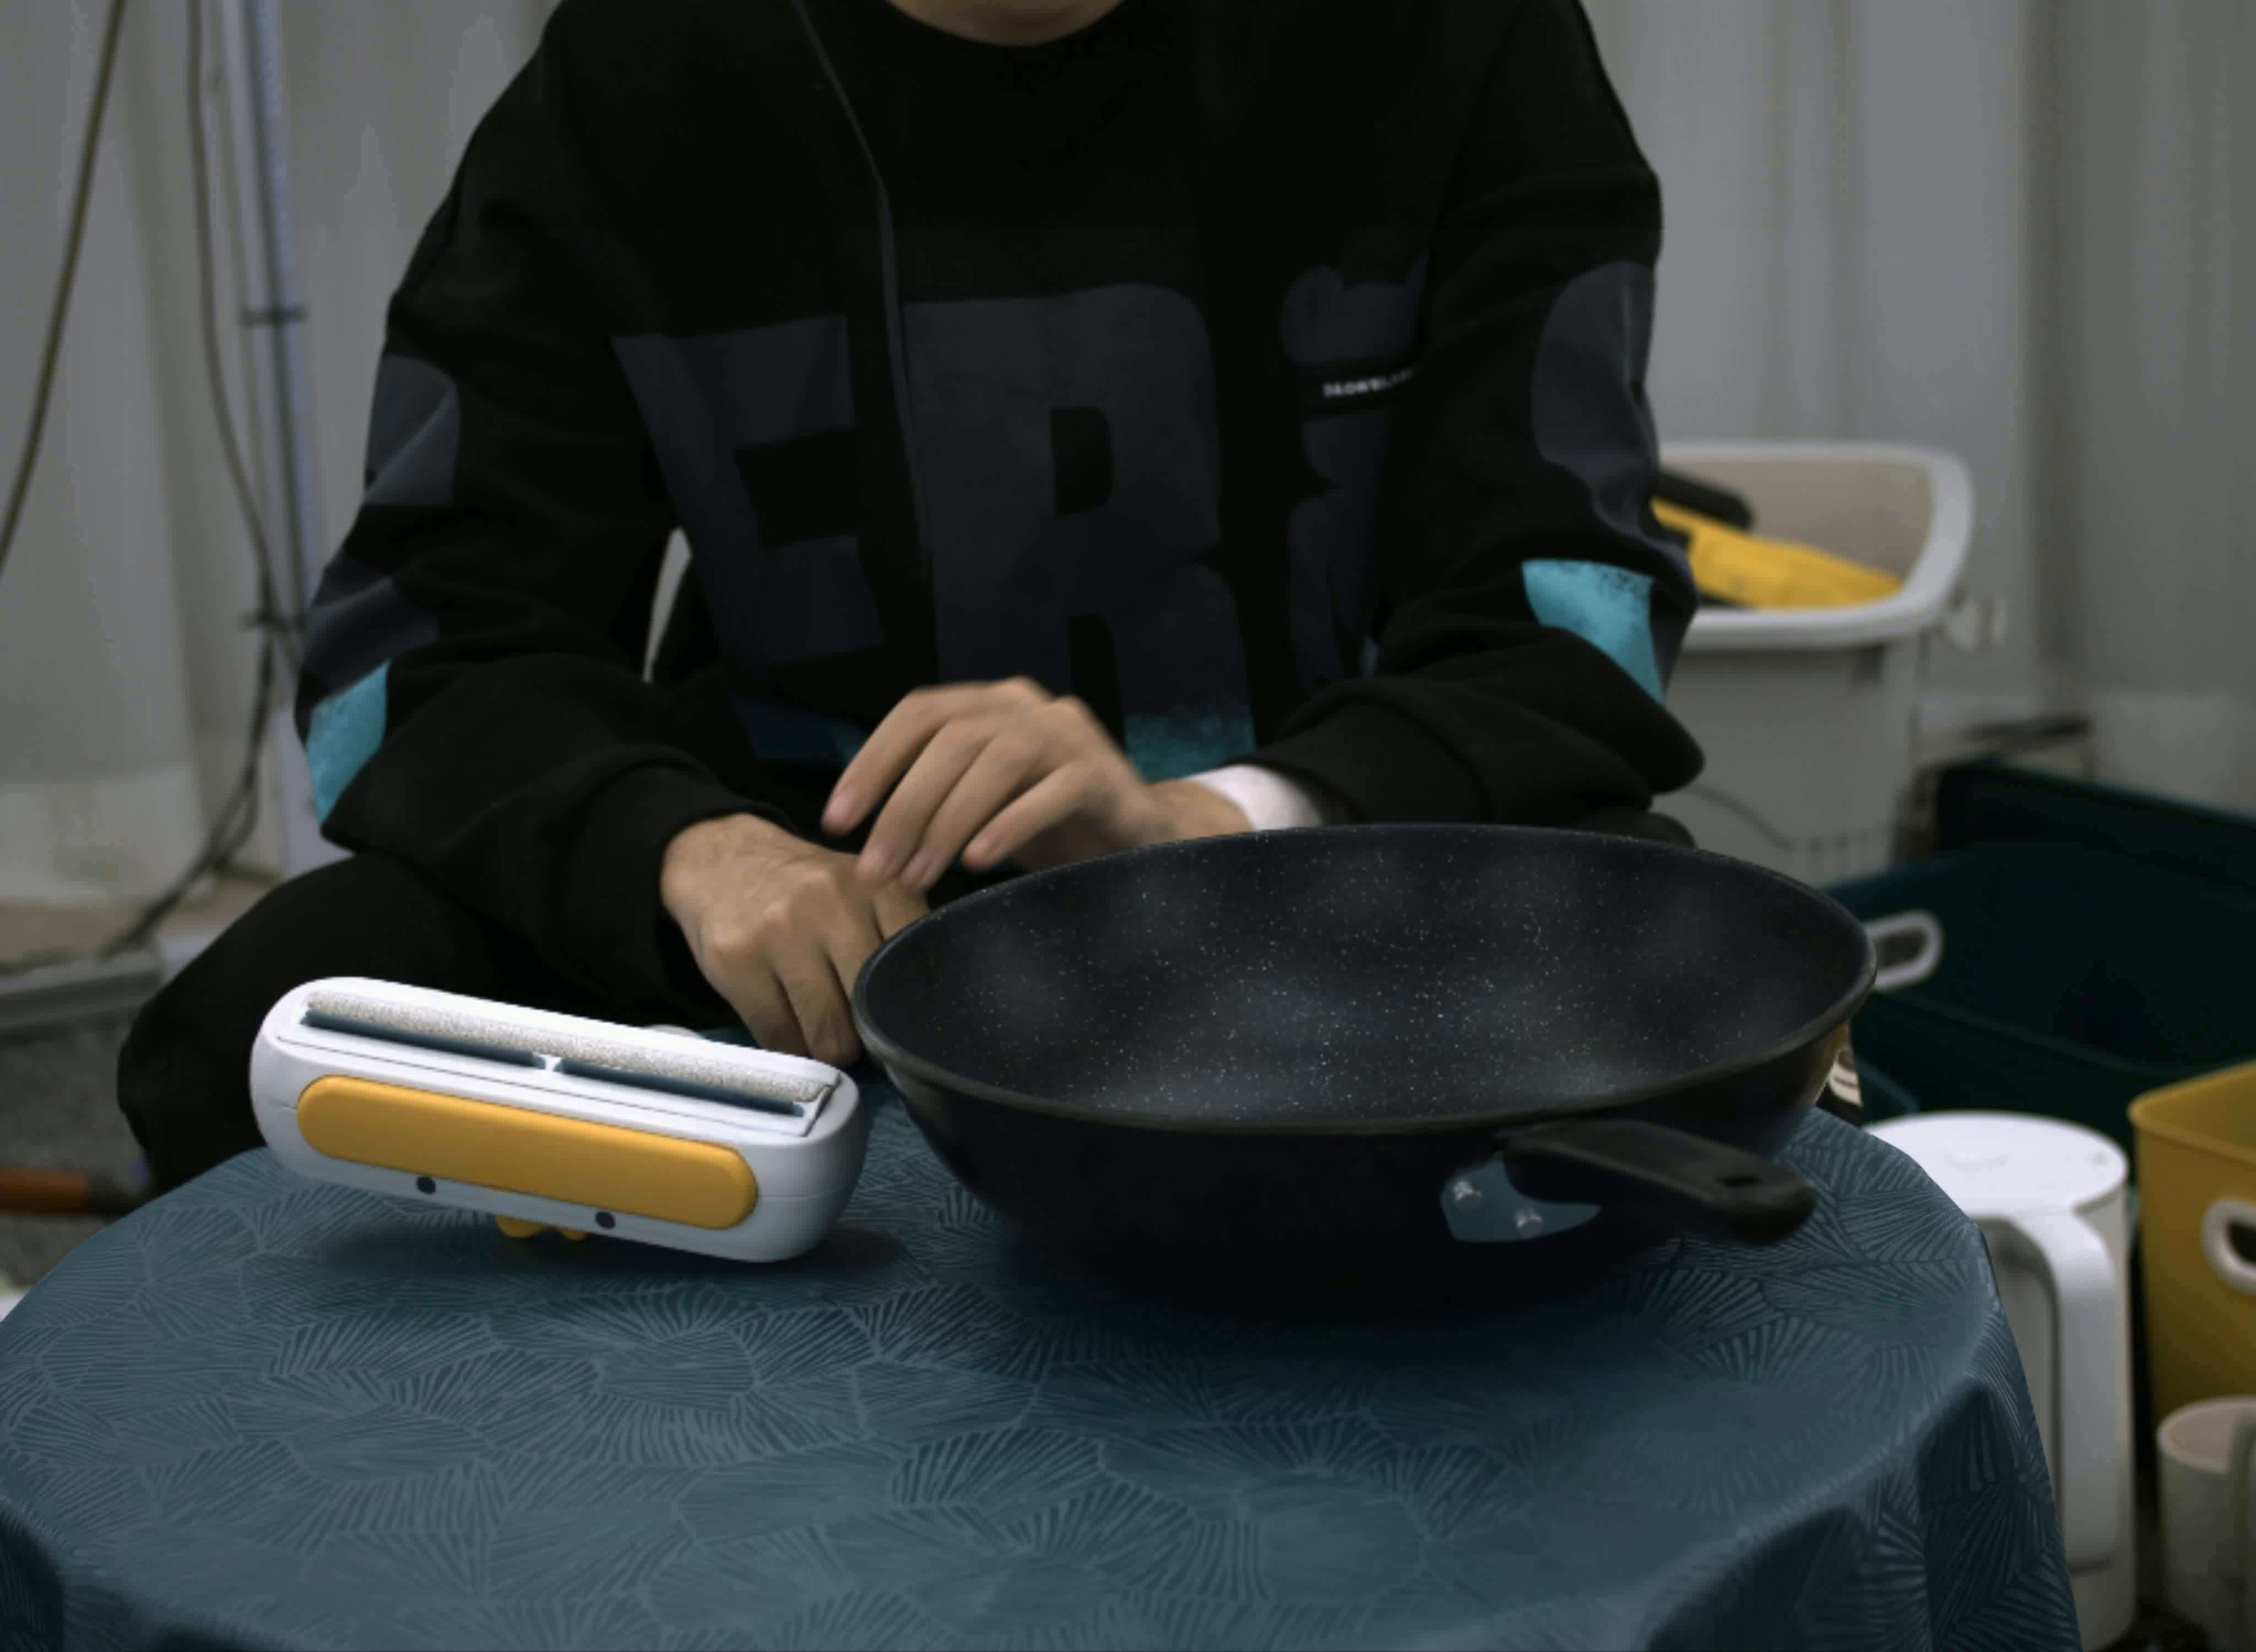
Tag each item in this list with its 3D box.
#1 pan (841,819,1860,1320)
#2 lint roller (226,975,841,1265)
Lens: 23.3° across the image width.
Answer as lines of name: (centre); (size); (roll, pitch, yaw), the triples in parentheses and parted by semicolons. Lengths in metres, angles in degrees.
pan: (0.093, 0.089, 1.585); (0.309, 0.111, 0.480); (-9, 16, -15)
lint roller: (-0.168, 0.083, 1.739); (0.193, 0.074, 0.193); (6, 15, 14)
